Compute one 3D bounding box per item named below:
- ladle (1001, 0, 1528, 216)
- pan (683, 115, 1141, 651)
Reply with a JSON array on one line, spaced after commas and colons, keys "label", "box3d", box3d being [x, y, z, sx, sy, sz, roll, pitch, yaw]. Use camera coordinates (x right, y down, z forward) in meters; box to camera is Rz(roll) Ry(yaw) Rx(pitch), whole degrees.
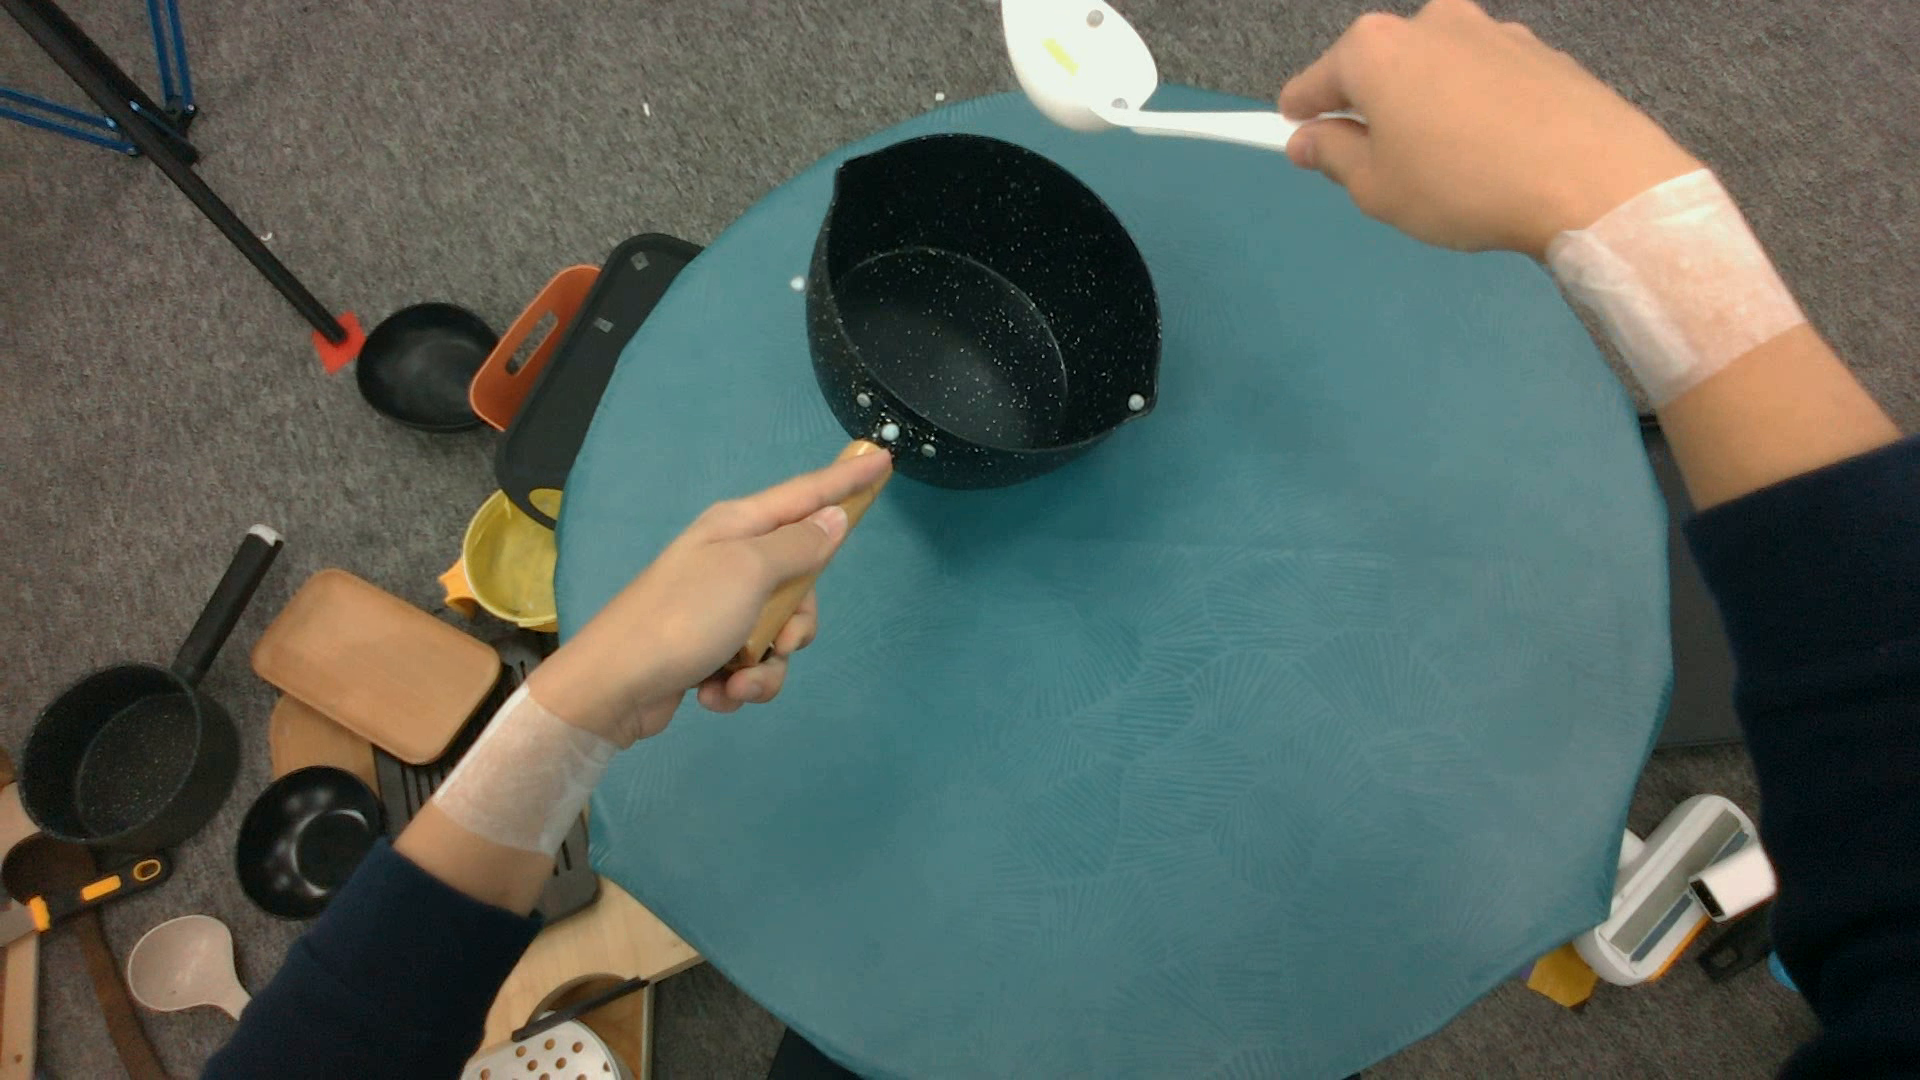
[{"label": "ladle", "box3d": [0.110, -0.191, 0.561, 0.293, 0.090, 0.070, 35, 102, 51]}, {"label": "pan", "box3d": [-0.038, -0.066, 0.674, 0.207, 0.107, 0.344, 34, 58, -6]}]
